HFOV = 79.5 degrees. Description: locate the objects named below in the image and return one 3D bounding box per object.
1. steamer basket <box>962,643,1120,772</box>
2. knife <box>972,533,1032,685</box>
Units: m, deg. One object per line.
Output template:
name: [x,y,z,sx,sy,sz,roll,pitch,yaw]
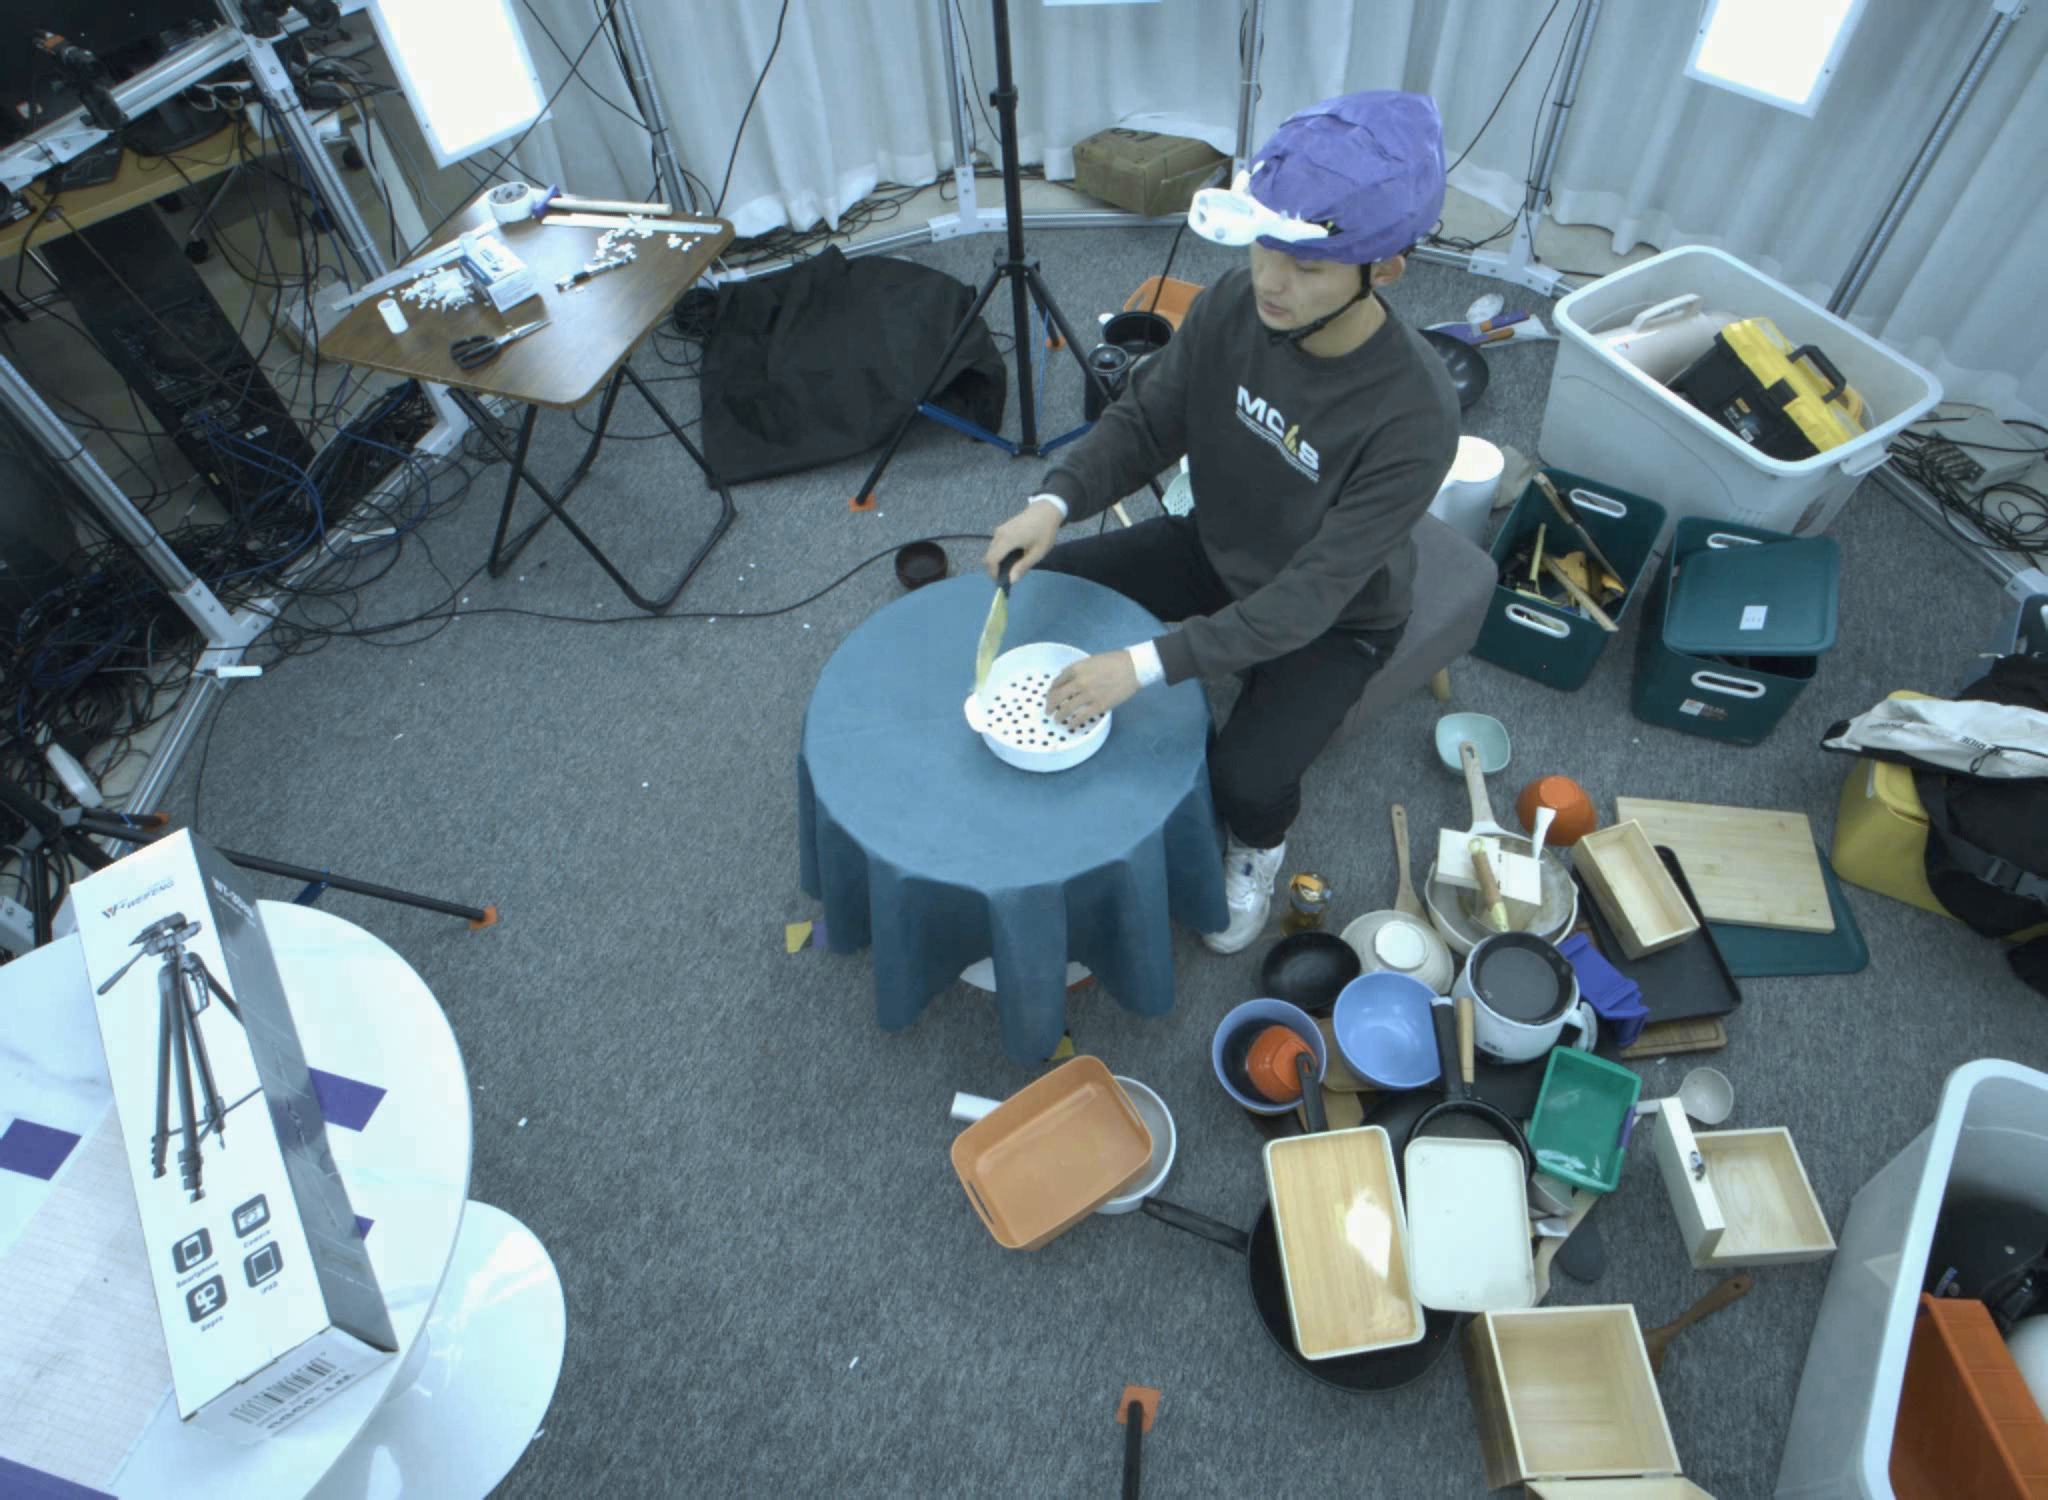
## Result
steamer basket: [0.025,-0.060,1.796,0.232,0.070,0.198,-13,56,-10]
knife: [-0.034,-0.206,1.784,0.027,0.082,0.288,10,56,12]
